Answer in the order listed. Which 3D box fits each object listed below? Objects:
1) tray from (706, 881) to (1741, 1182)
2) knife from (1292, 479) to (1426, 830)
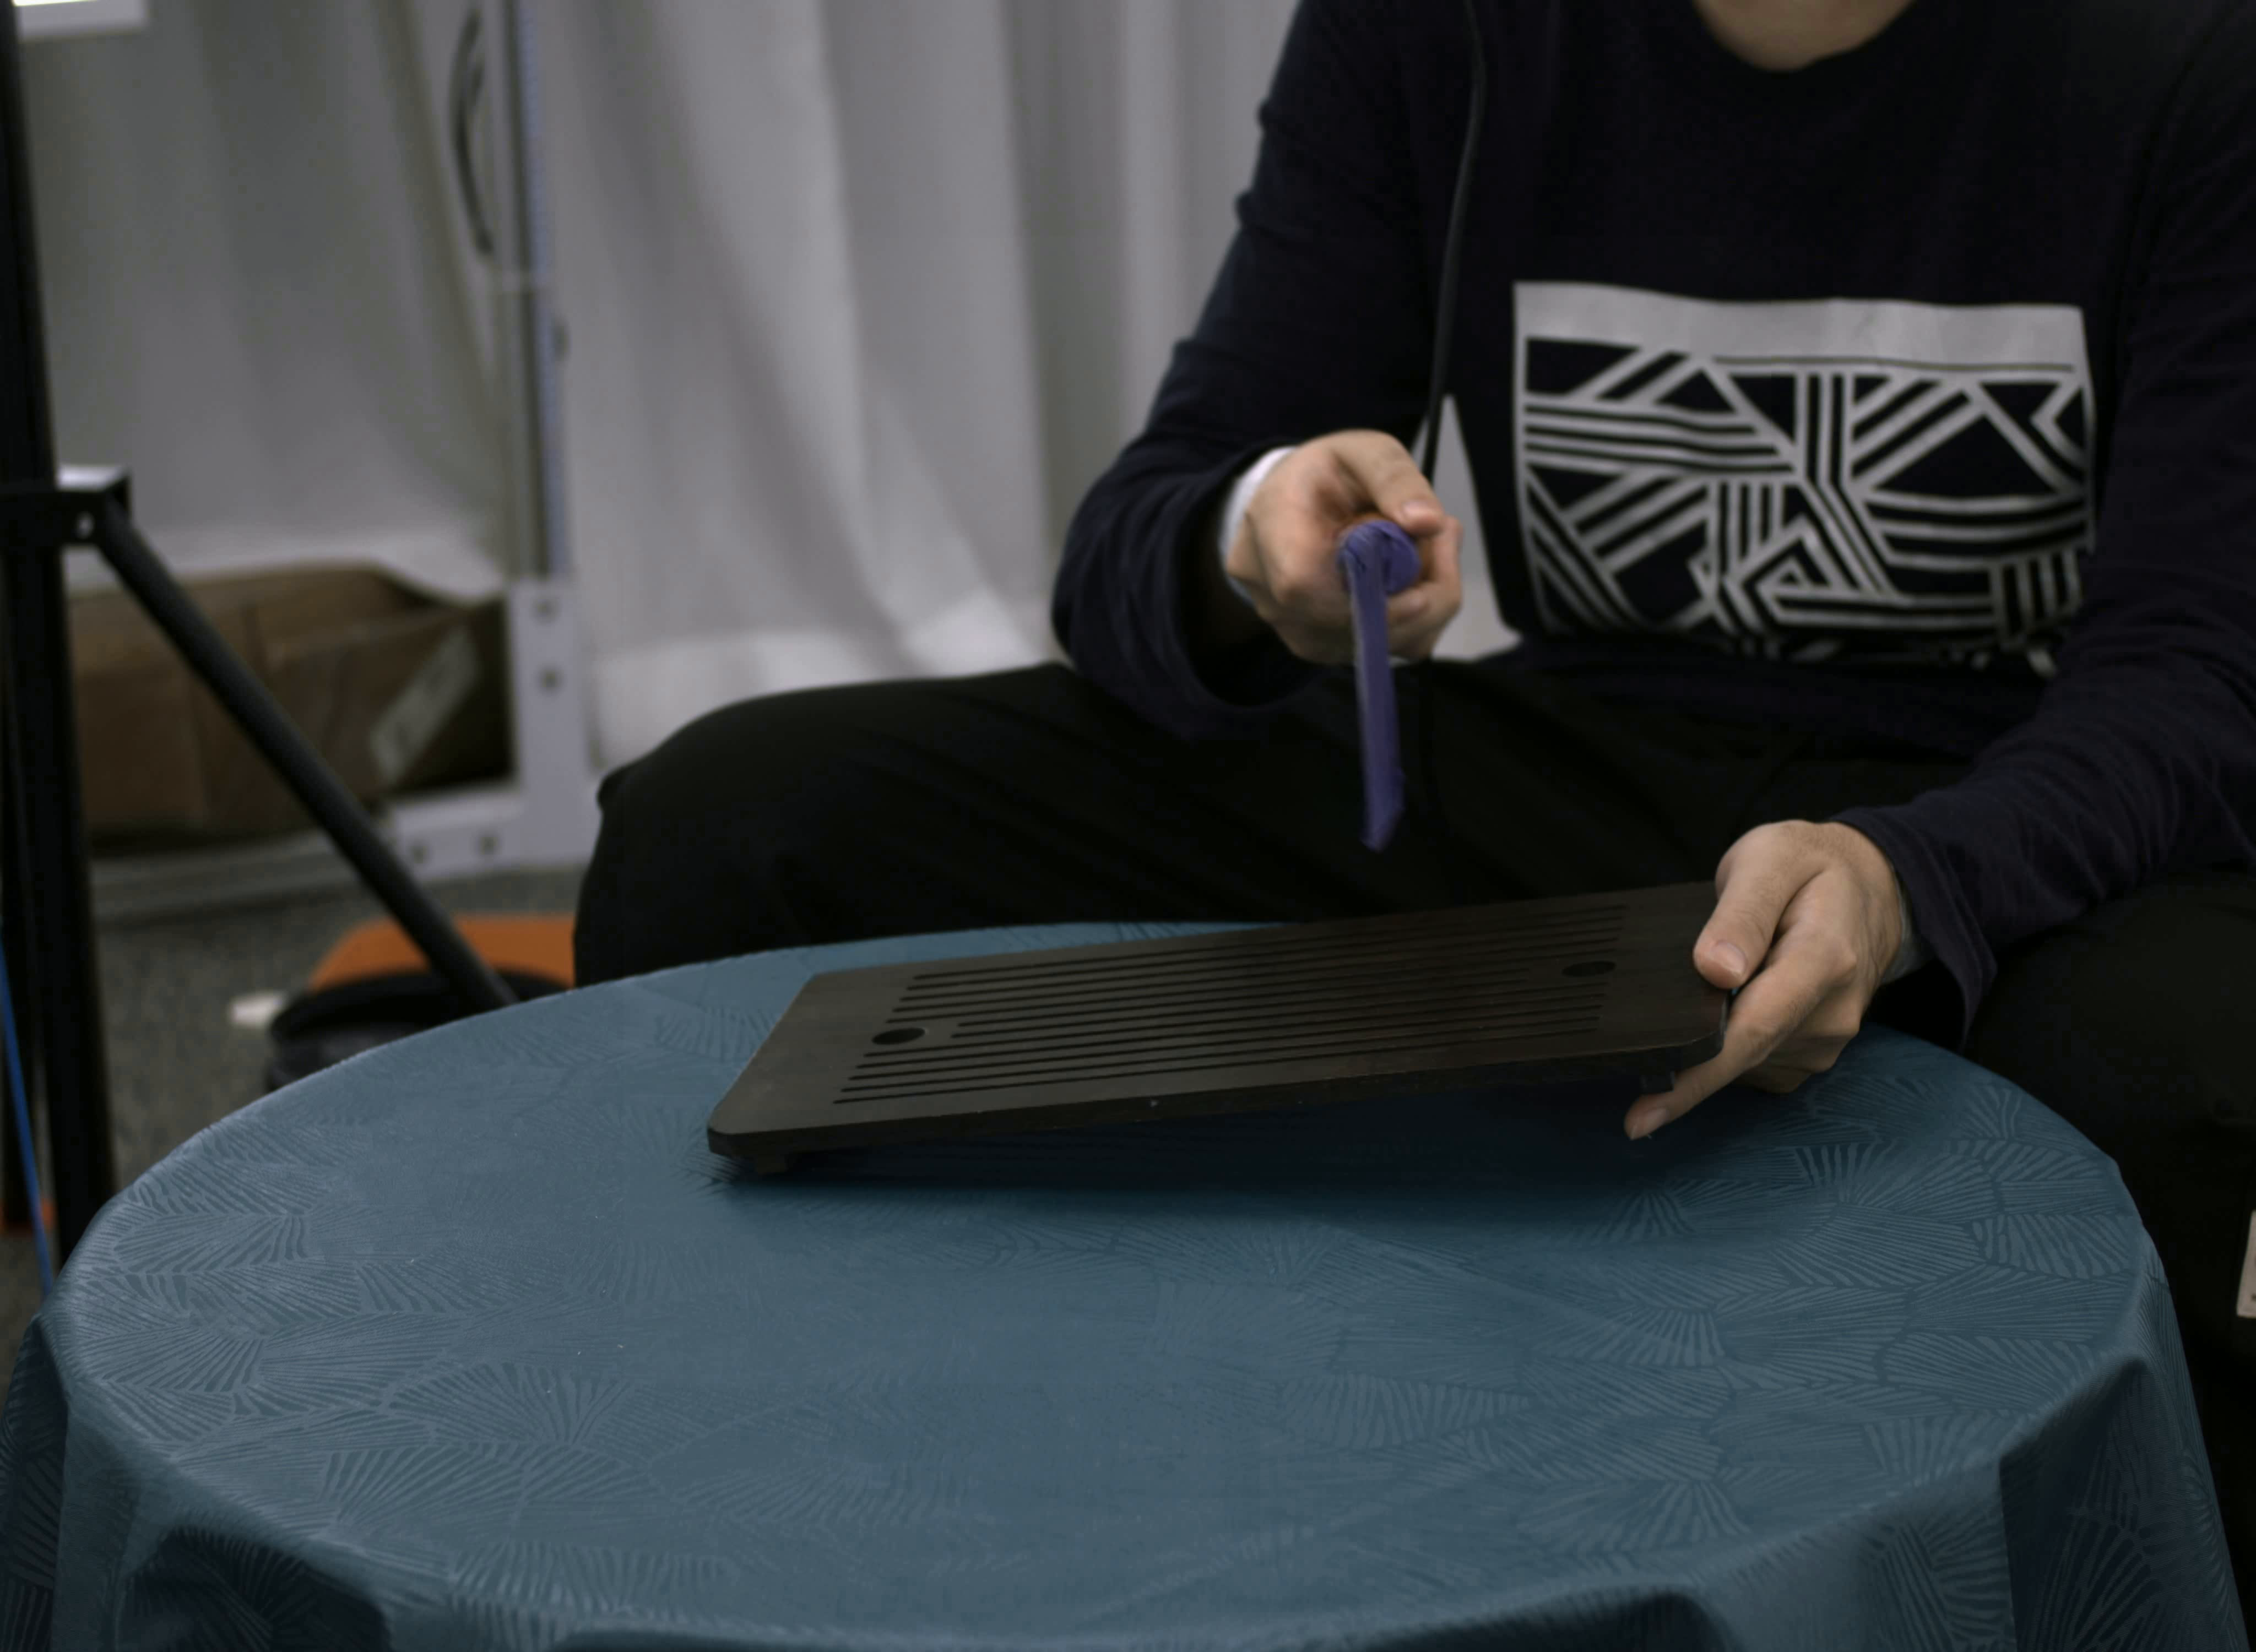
[{"bbox_3d":[0.034,0.063,1.623,0.307,0.018,0.169,-6,15,12],"label":"tray"},{"bbox_3d":[0.070,-0.052,1.665,0.032,0.104,0.313,-2,2,7],"label":"knife"}]
